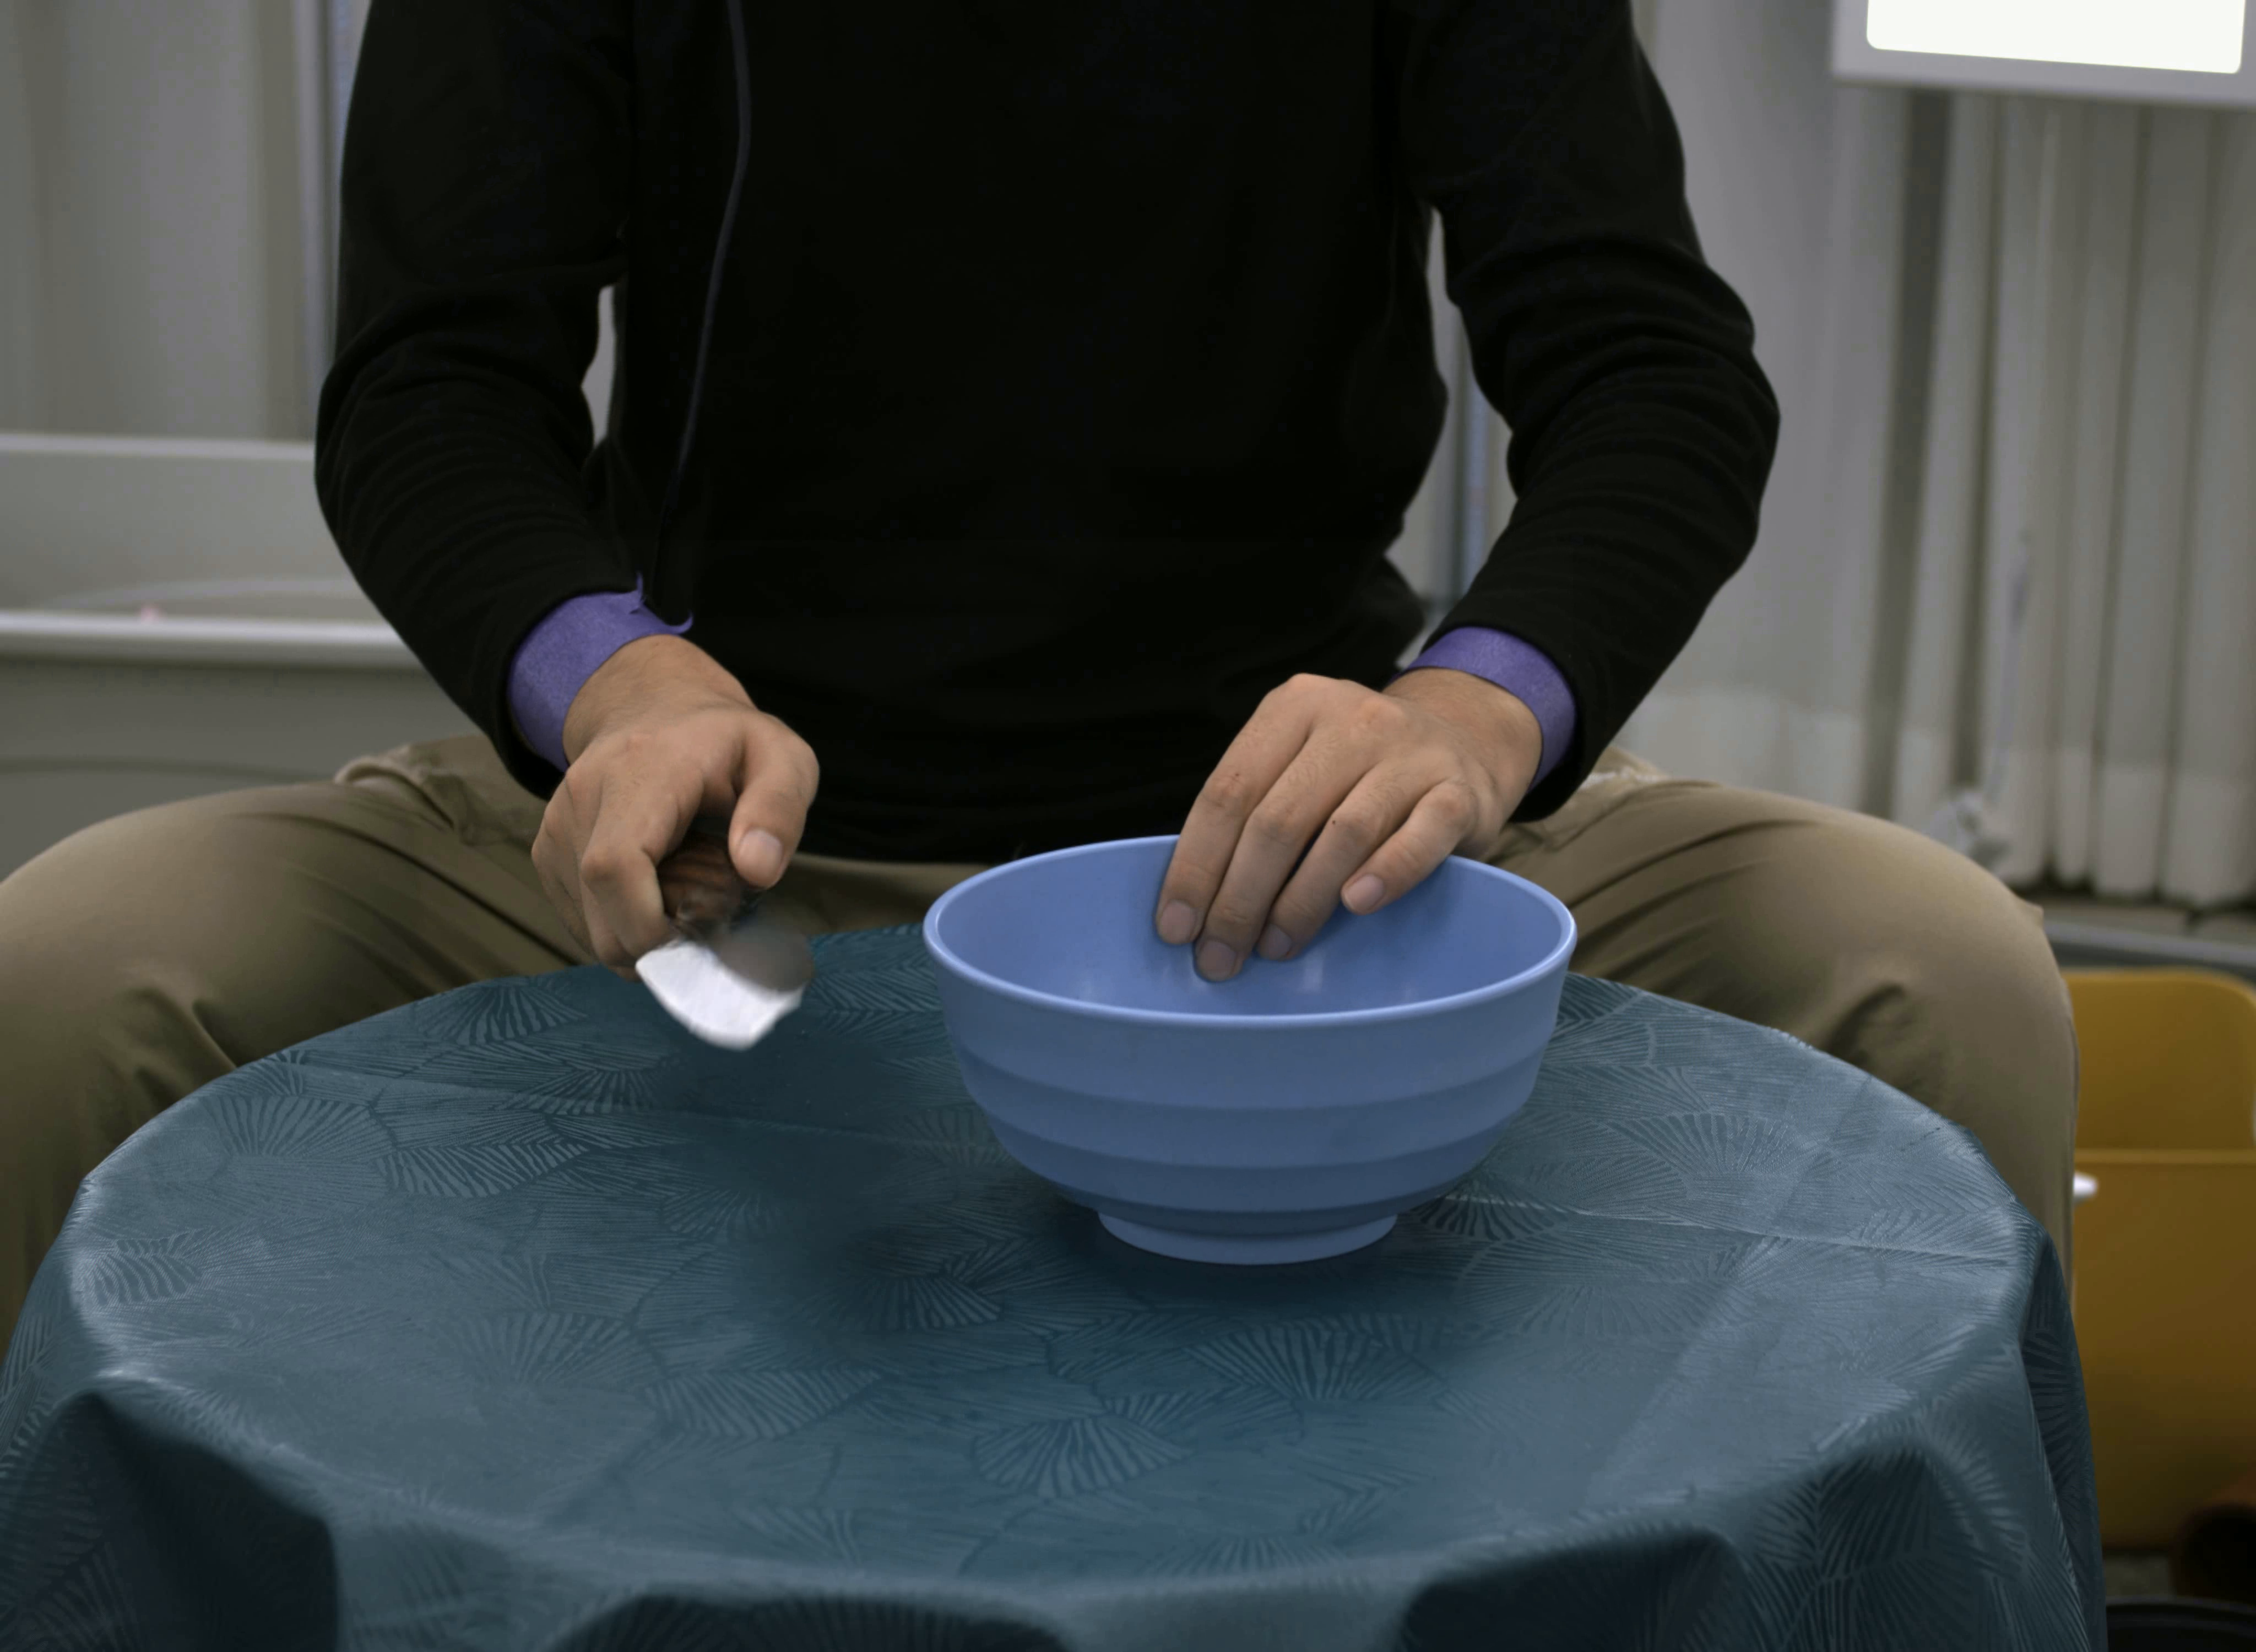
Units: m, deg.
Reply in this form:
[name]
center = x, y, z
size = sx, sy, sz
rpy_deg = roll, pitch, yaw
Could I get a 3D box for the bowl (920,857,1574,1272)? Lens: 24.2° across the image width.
[bowl]
center = 0.036, 0.076, 1.590
size = 0.196, 0.096, 0.195
rpy_deg = 0, 13, 1

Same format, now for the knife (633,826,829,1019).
[knife]
center = -0.122, 0.029, 1.573
size = 0.050, 0.020, 0.287
rpy_deg = -33, 12, -4
